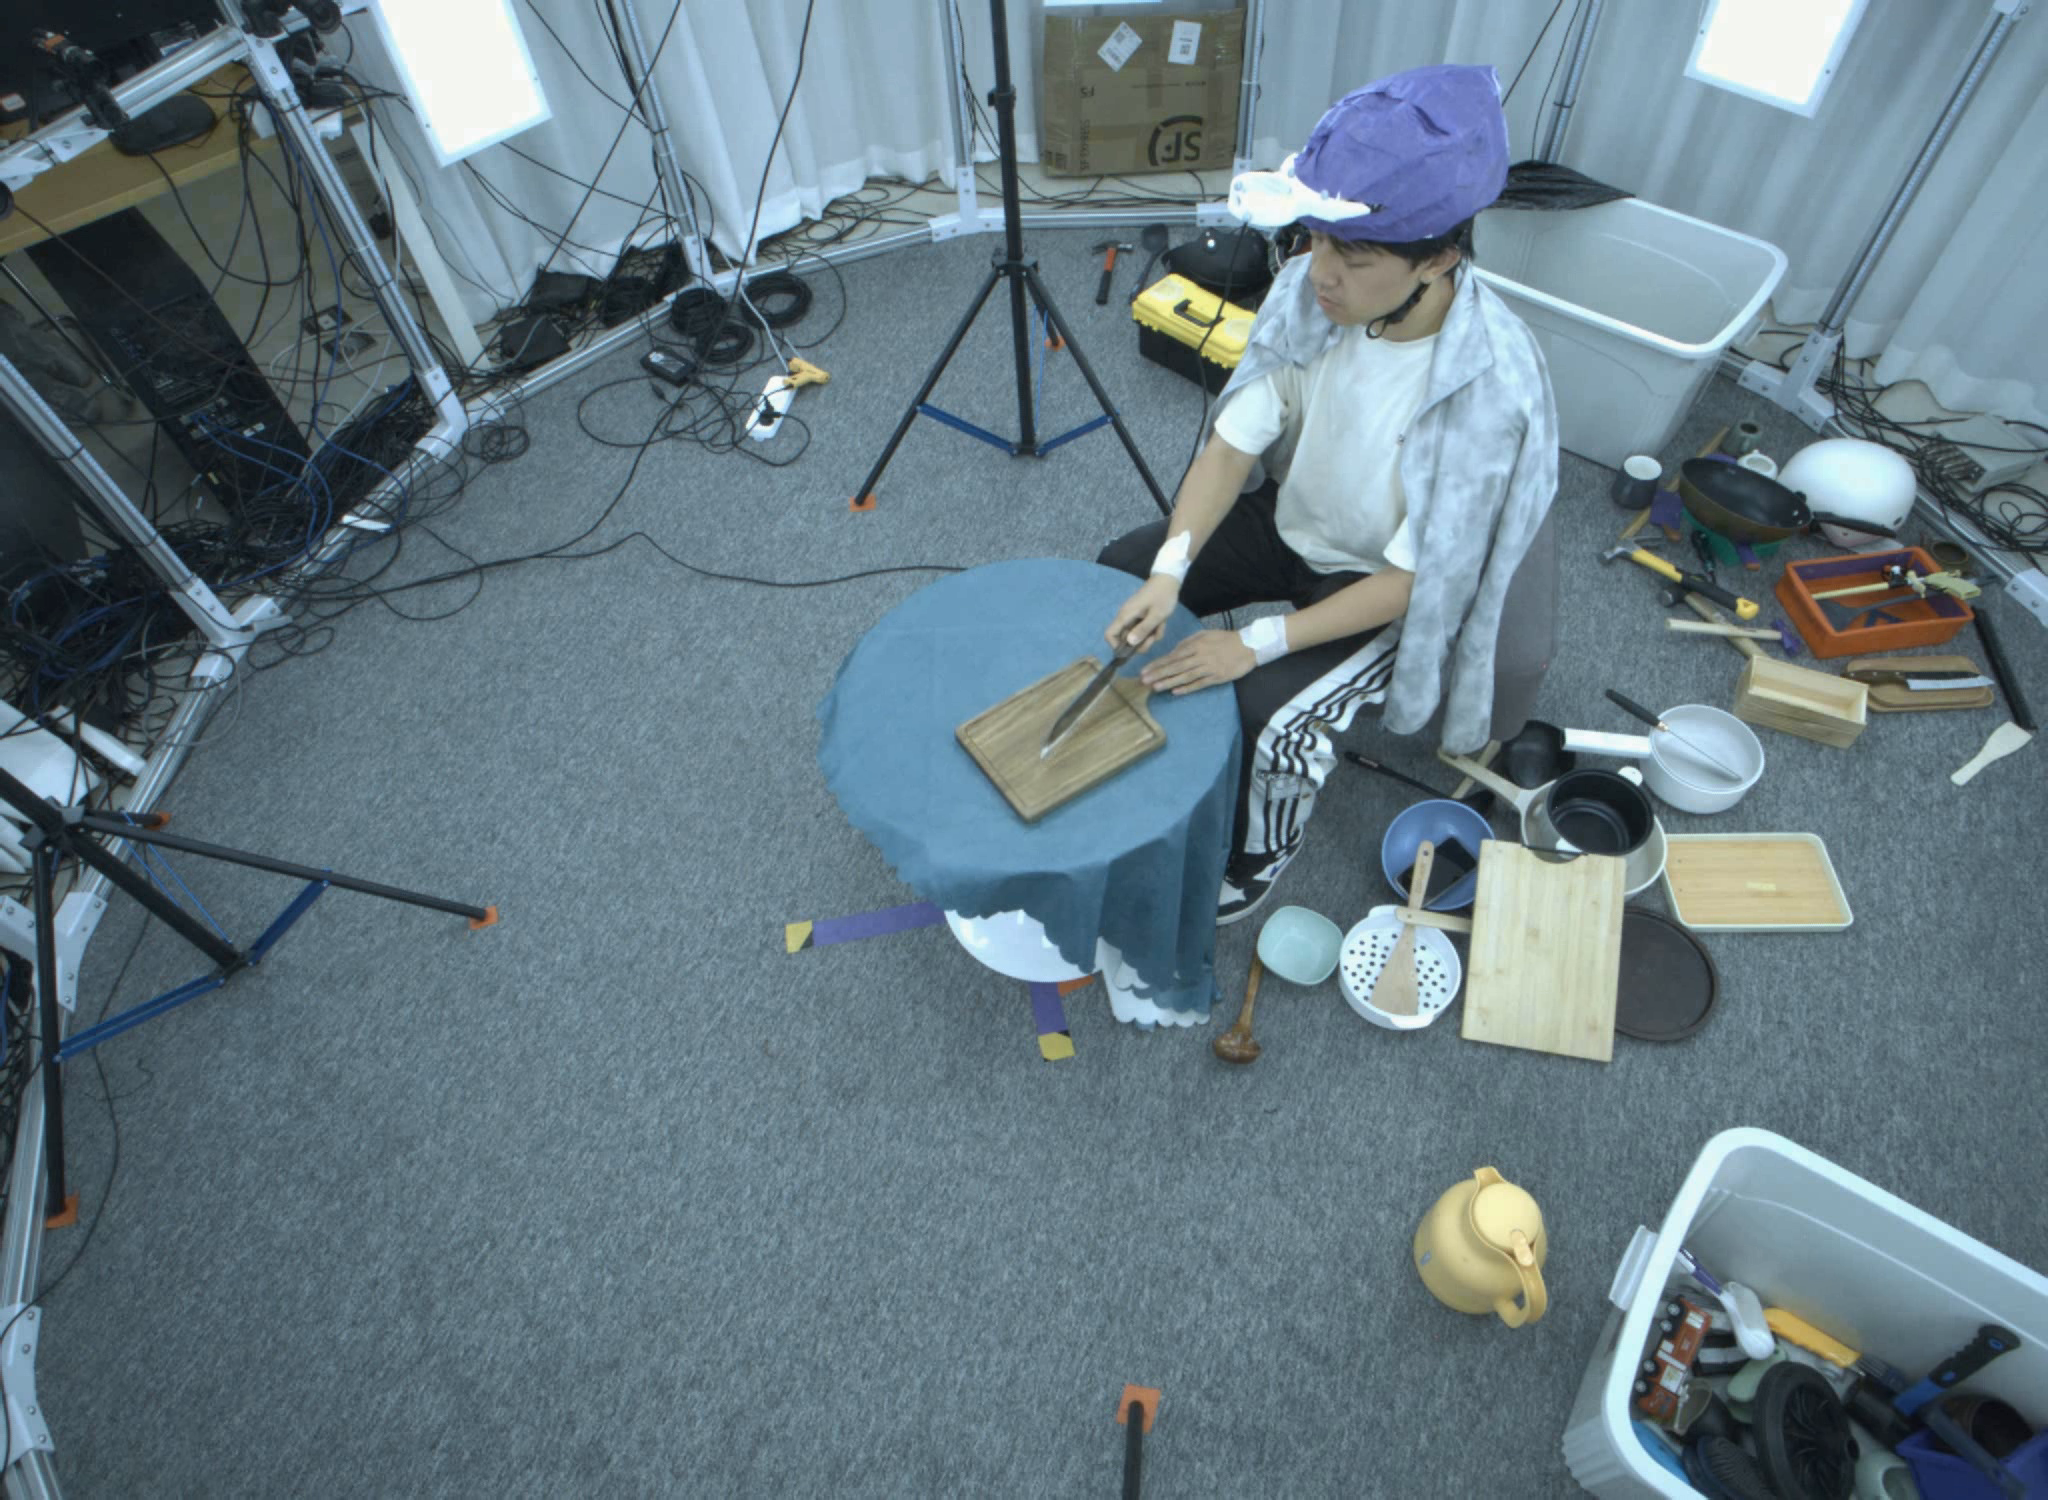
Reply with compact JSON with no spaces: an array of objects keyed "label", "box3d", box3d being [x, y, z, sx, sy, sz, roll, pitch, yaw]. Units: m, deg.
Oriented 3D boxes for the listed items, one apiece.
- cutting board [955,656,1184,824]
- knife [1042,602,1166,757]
[{"label":"cutting board","box3d":[0.094,-0.044,1.807,0.355,0.023,0.197,-30,58,-19]},{"label":"knife","box3d":[0.116,-0.104,1.785,0.023,0.068,0.301,33,64,17]}]
